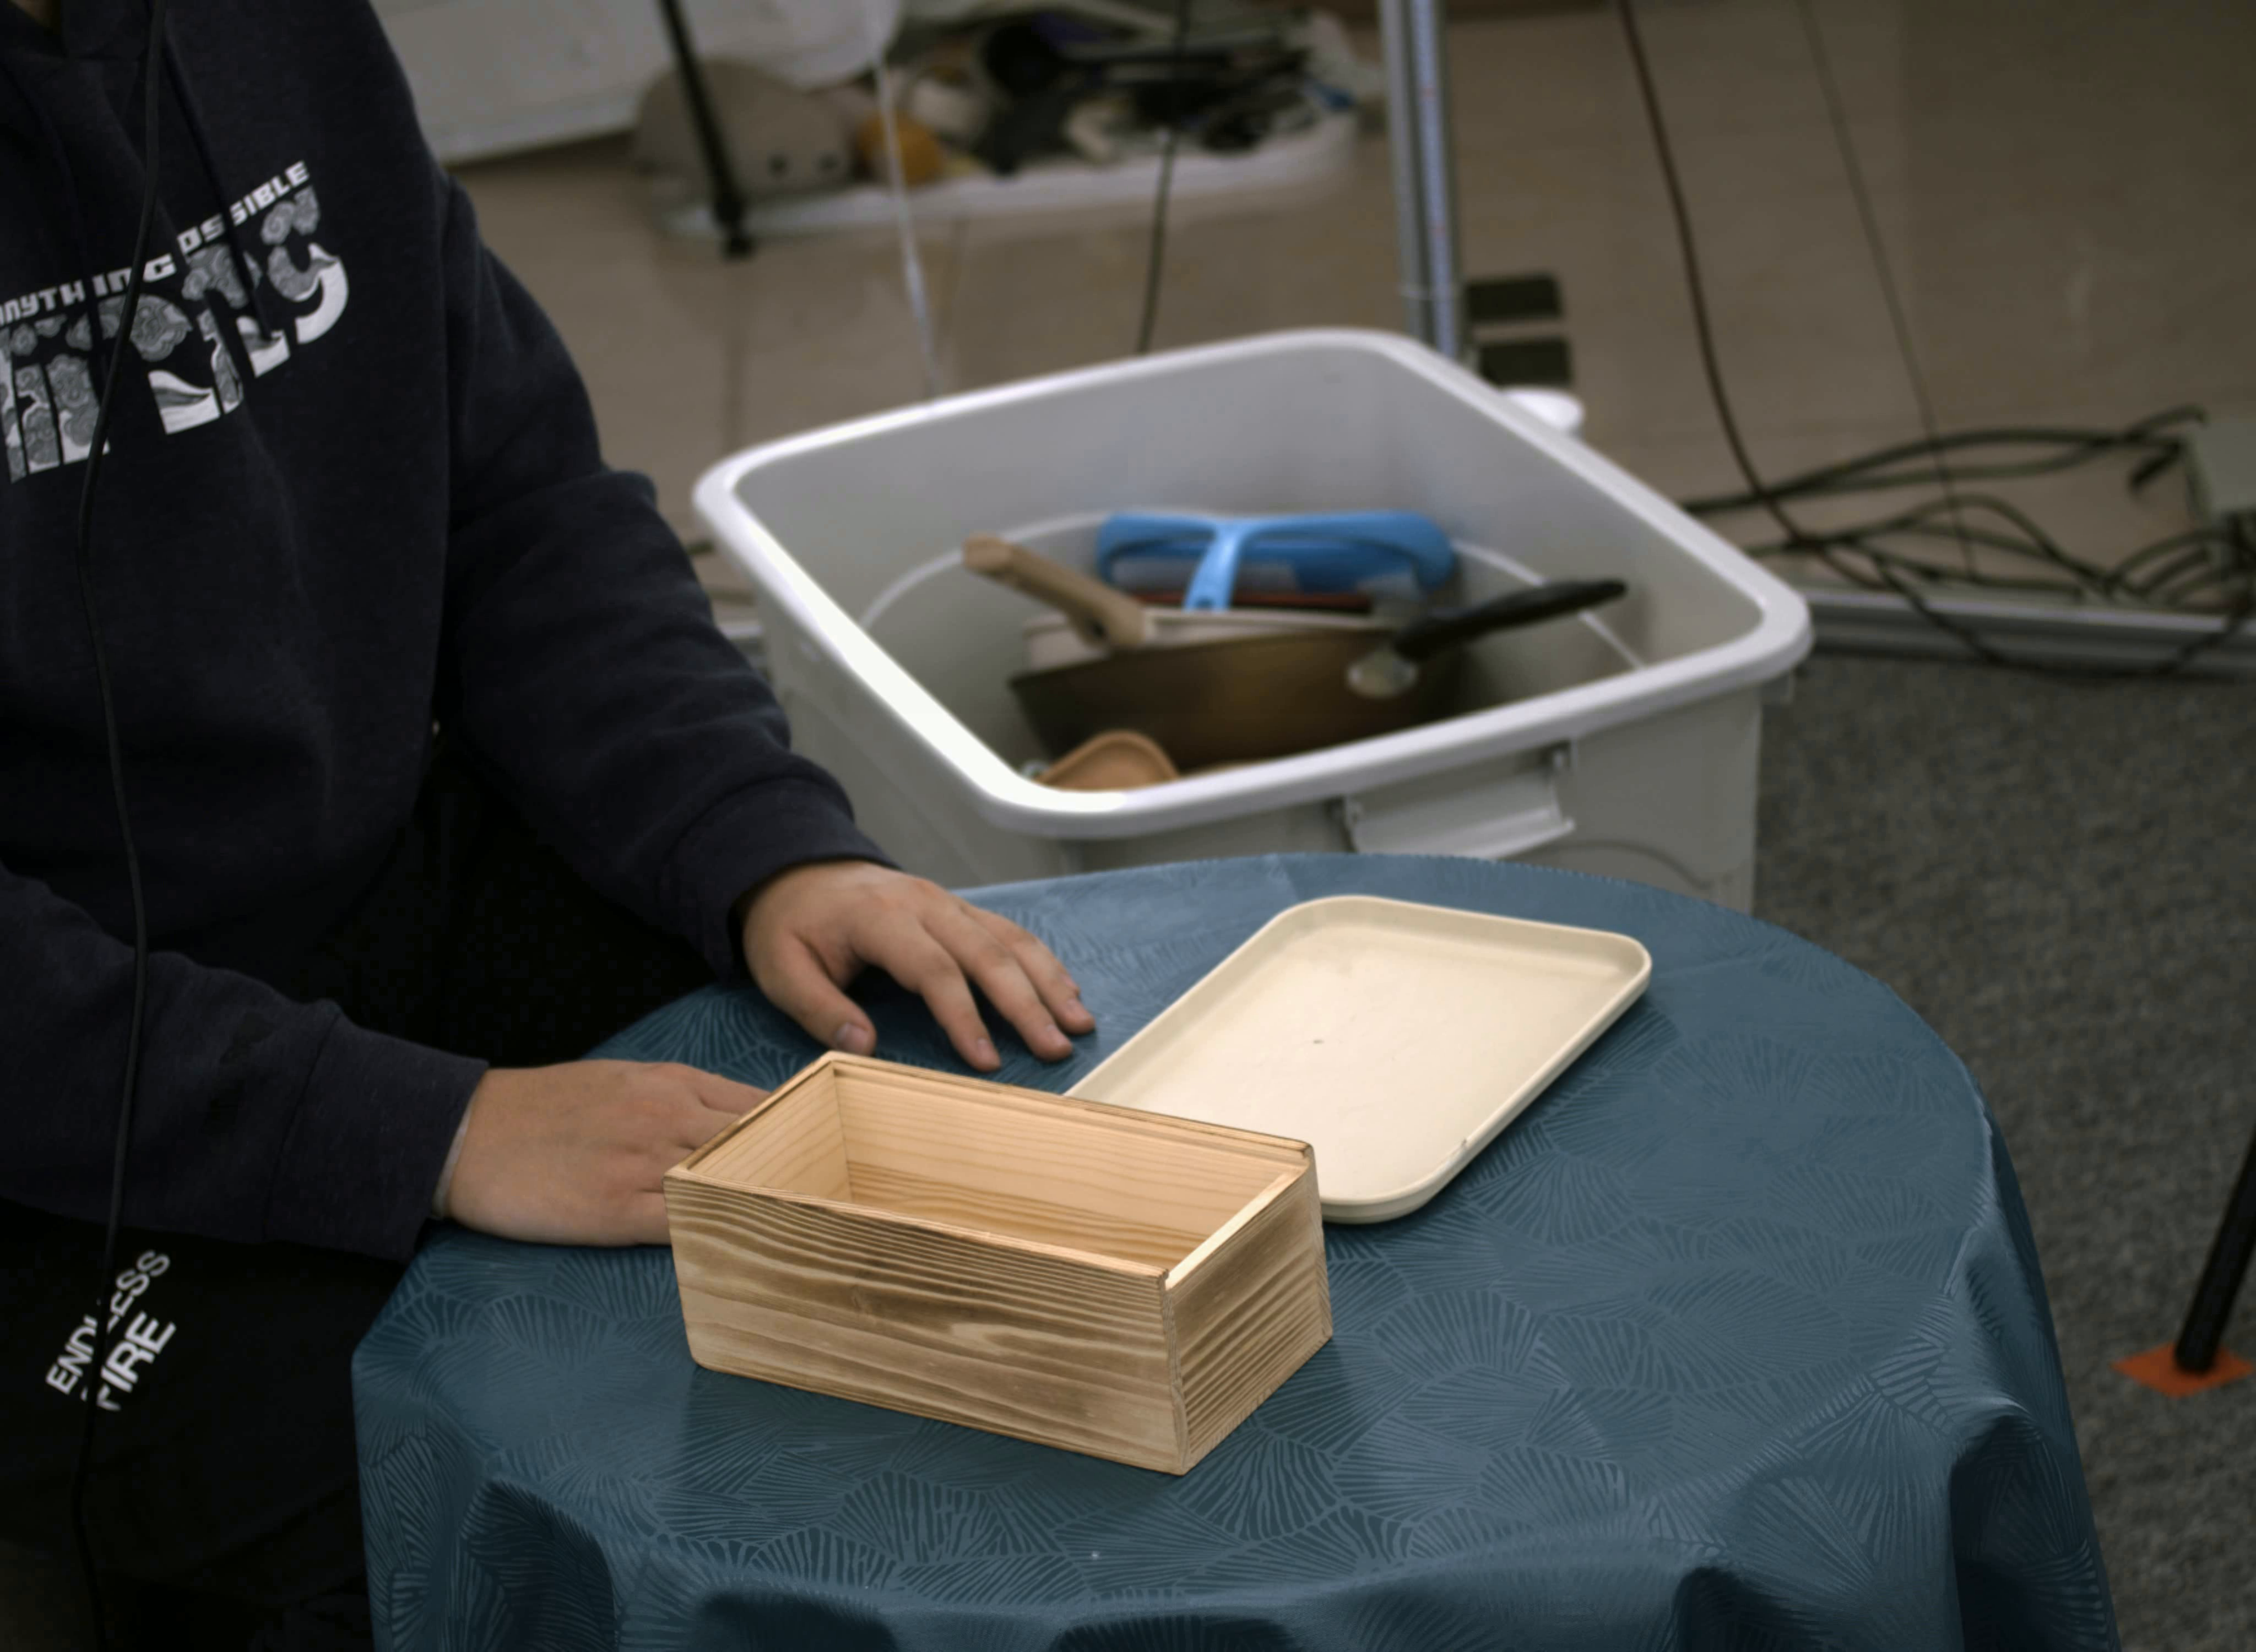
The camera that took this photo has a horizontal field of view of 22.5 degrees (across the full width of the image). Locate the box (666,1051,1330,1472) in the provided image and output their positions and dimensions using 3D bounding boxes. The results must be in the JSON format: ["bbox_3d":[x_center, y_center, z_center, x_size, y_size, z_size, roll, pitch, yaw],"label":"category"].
[{"bbox_3d":[-0.047,0.153,2.032,0.210,0.081,0.106,9,29,31],"label":"box"}]

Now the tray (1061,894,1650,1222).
[{"bbox_3d":[0.087,0.090,2.213,0.170,0.018,0.237,8,28,30],"label":"tray"}]
